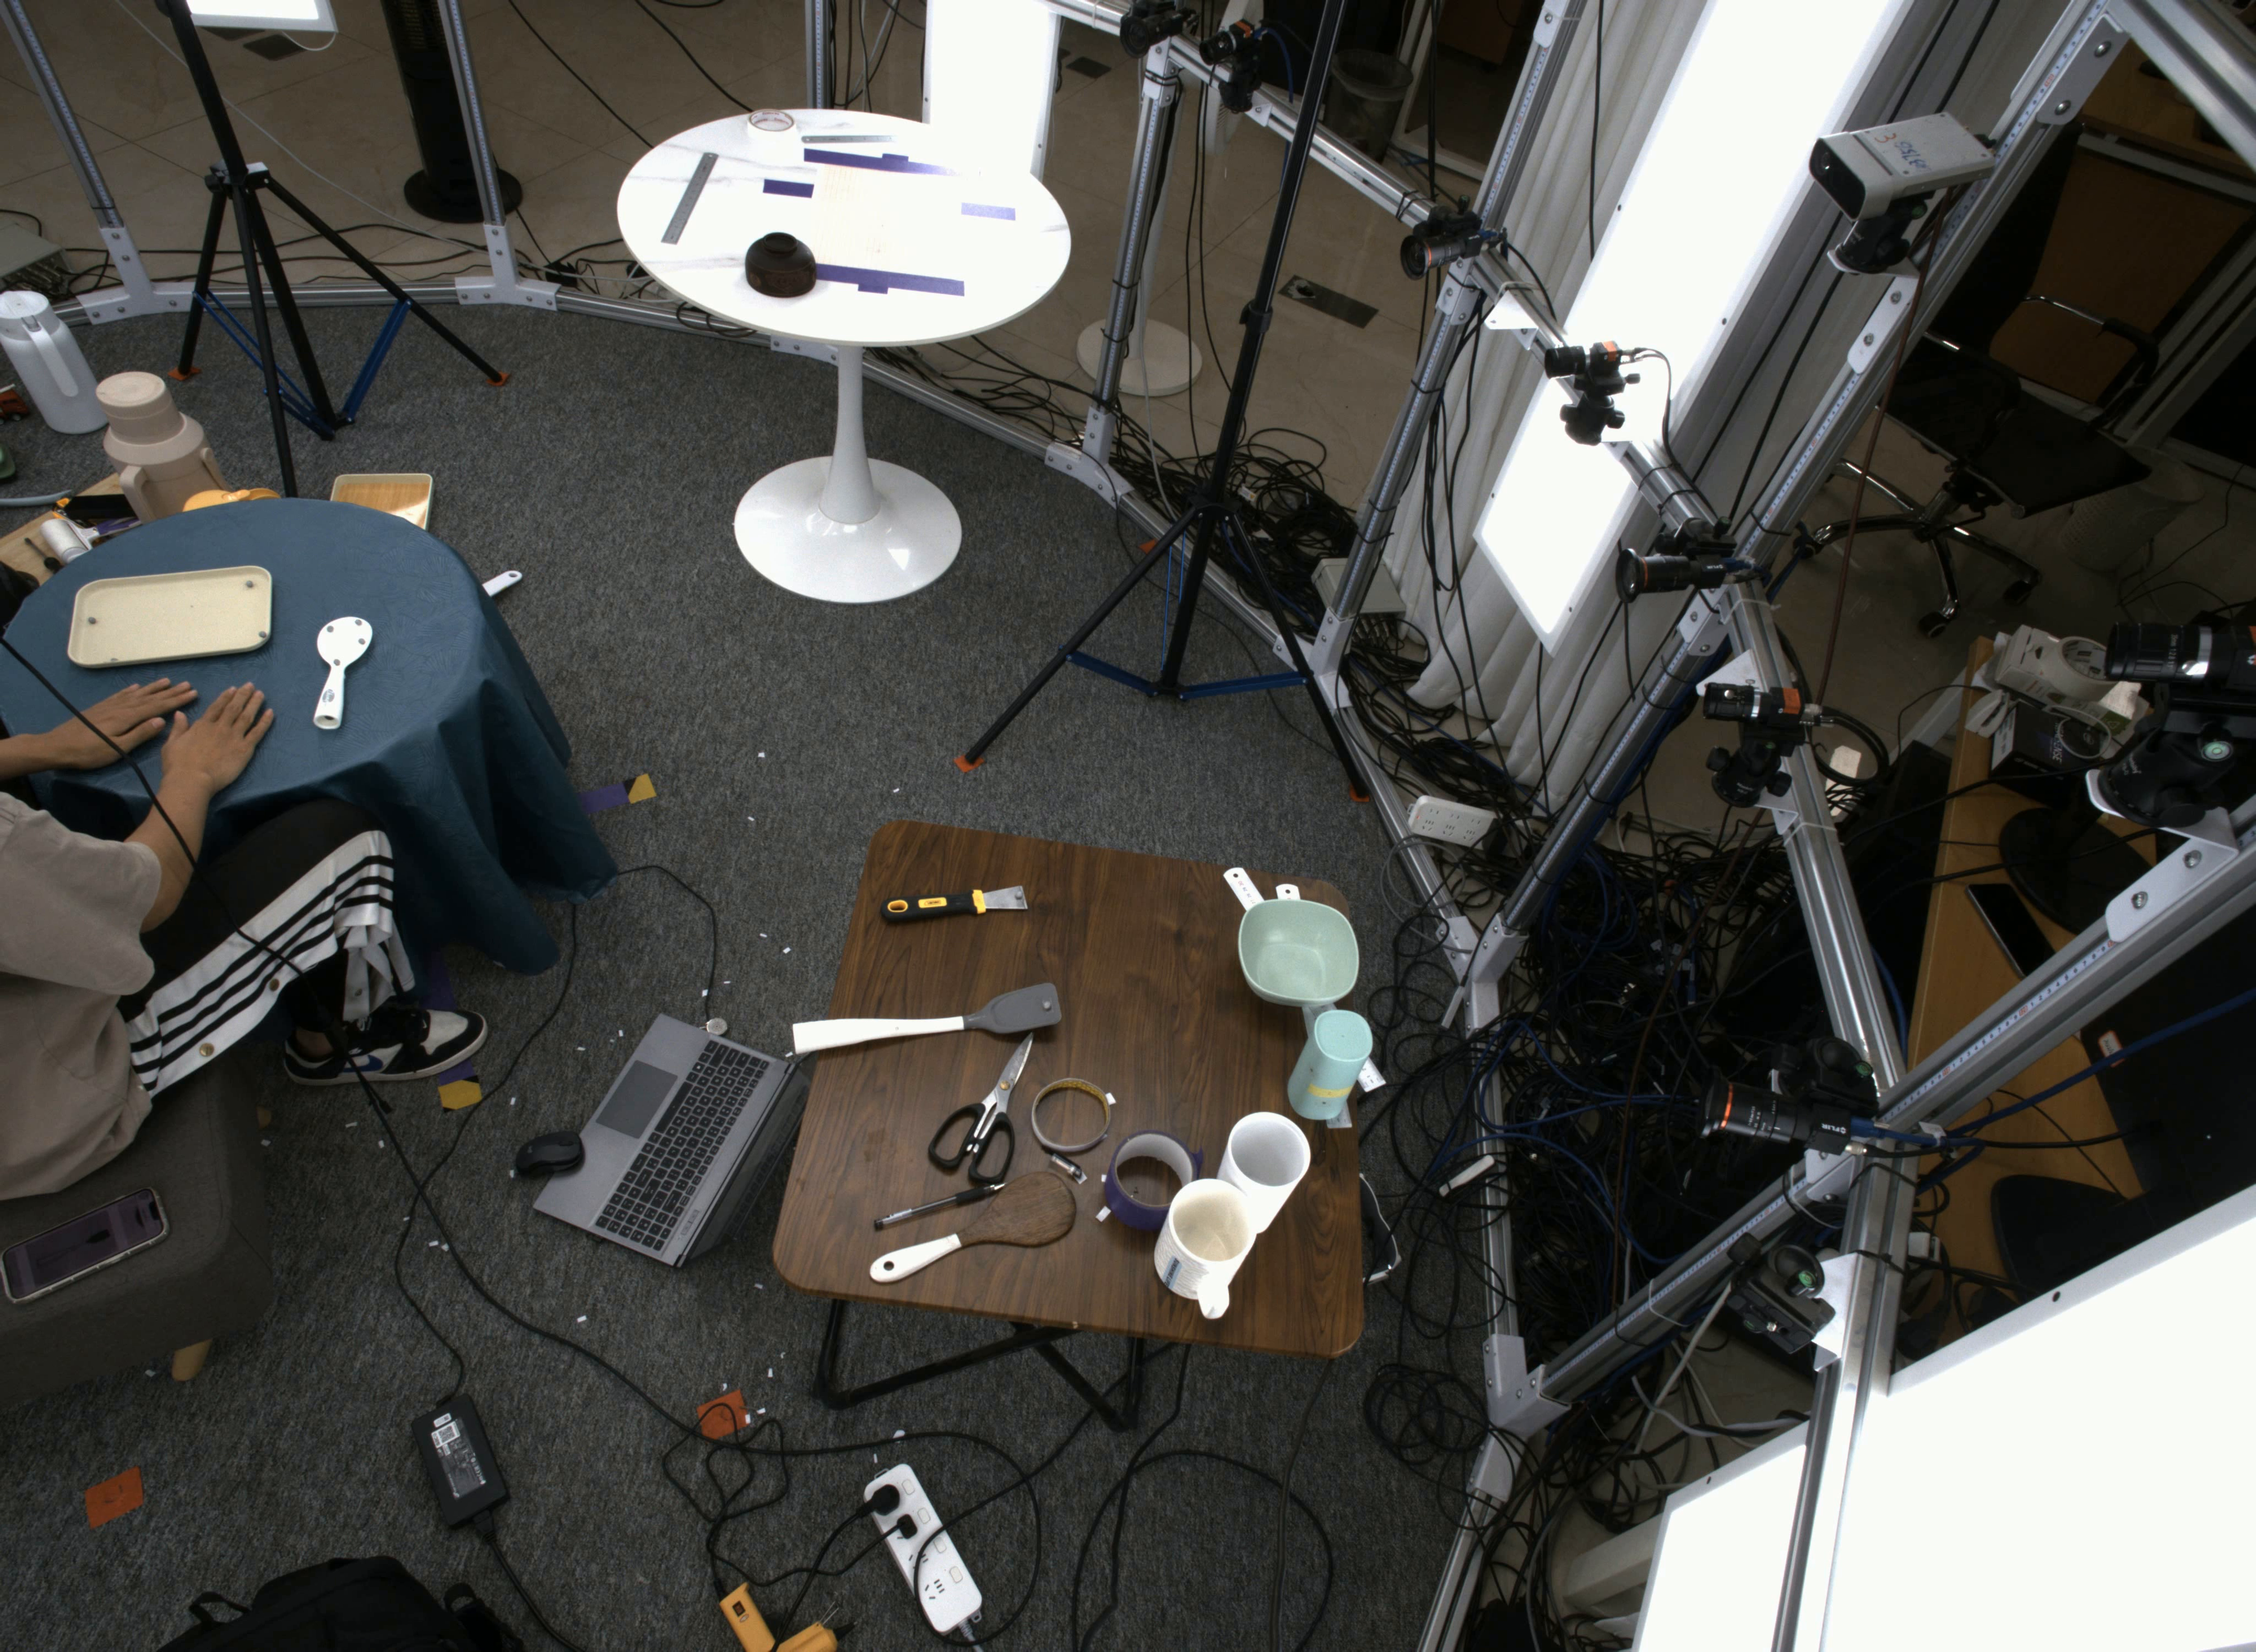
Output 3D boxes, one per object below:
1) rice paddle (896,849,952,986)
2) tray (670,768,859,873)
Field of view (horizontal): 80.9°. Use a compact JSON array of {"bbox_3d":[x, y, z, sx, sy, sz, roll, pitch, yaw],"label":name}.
[{"bbox_3d":[-0.268,0.108,1.671,0.068,0.030,0.202,9,52,-8],"label":"rice paddle"},{"bbox_3d":[-0.479,-0.007,1.716,0.239,0.018,0.167,2,53,-12],"label":"tray"}]
